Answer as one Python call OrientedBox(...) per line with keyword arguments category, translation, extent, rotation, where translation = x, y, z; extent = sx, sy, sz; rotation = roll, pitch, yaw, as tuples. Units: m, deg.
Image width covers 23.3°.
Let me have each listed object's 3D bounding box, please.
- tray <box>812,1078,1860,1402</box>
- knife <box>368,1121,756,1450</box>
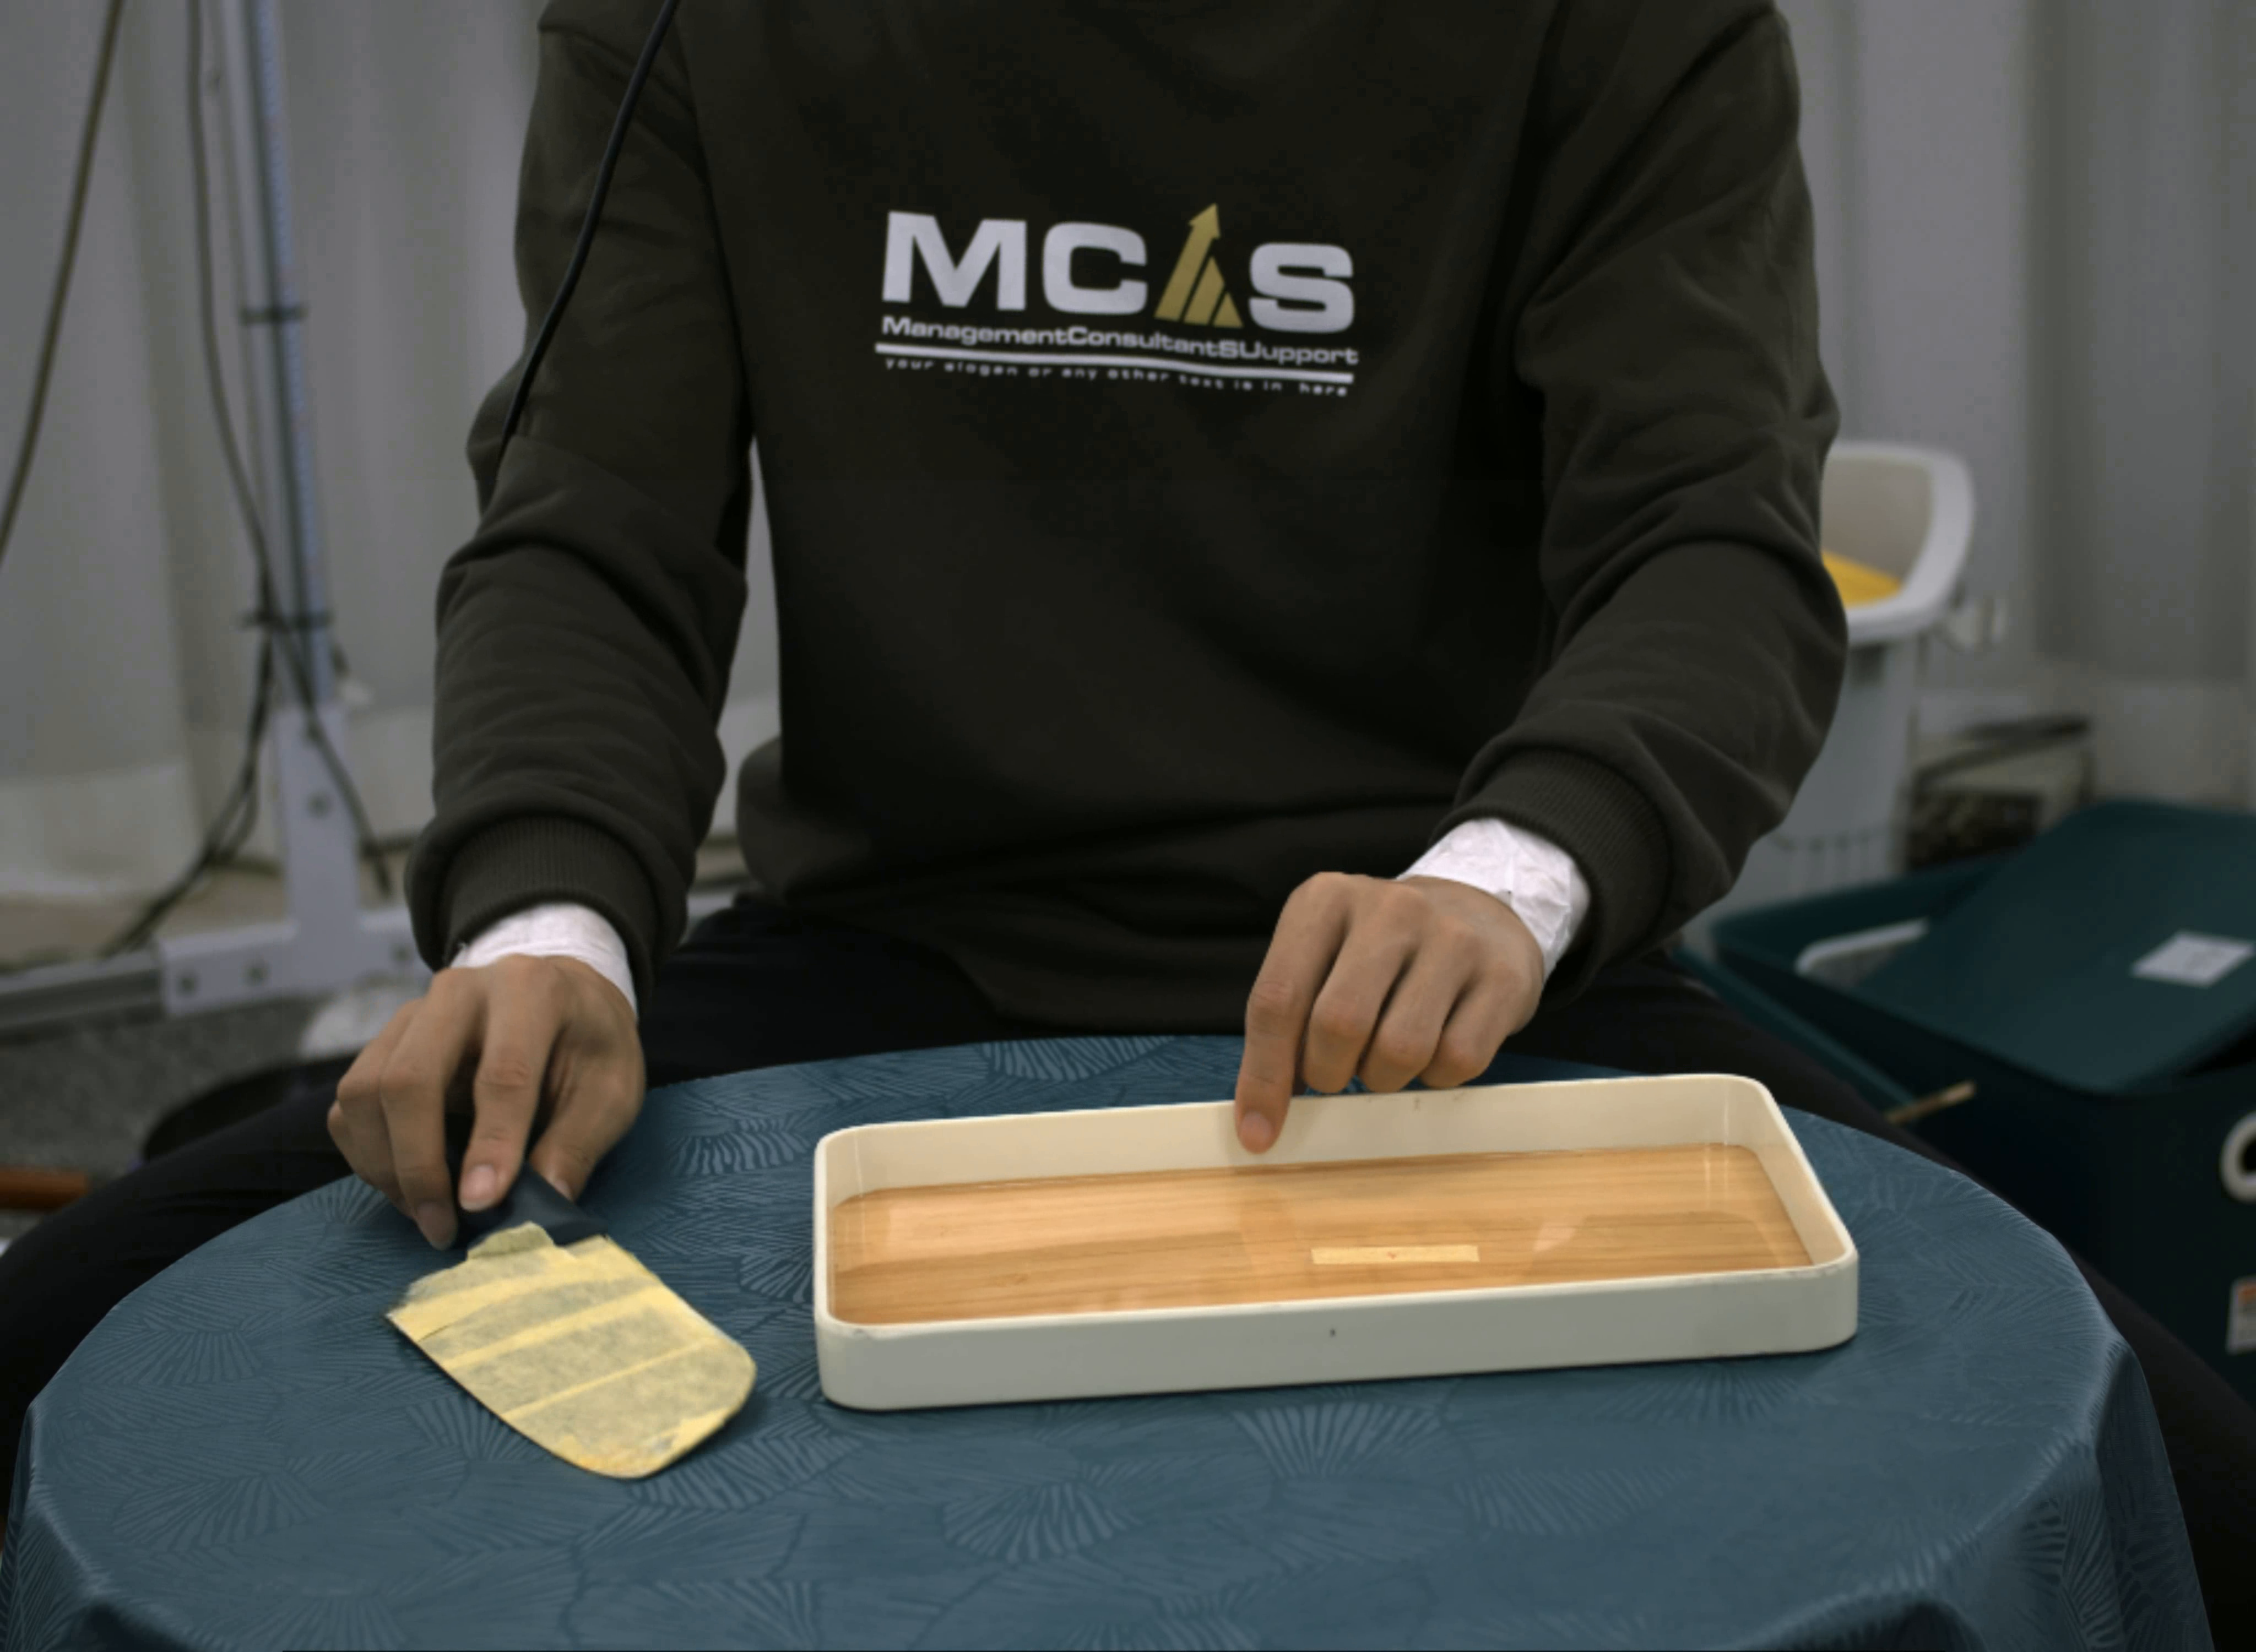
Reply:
OrientedBox(category="tray", translation=(0.056, 0.122, 1.630), extent=(0.299, 0.027, 0.193), rotation=(-3, 14, -2))
OrientedBox(category="knife", translation=(-0.184, 0.137, 1.631), extent=(0.081, 0.027, 0.292), rotation=(-17, 19, -20))
